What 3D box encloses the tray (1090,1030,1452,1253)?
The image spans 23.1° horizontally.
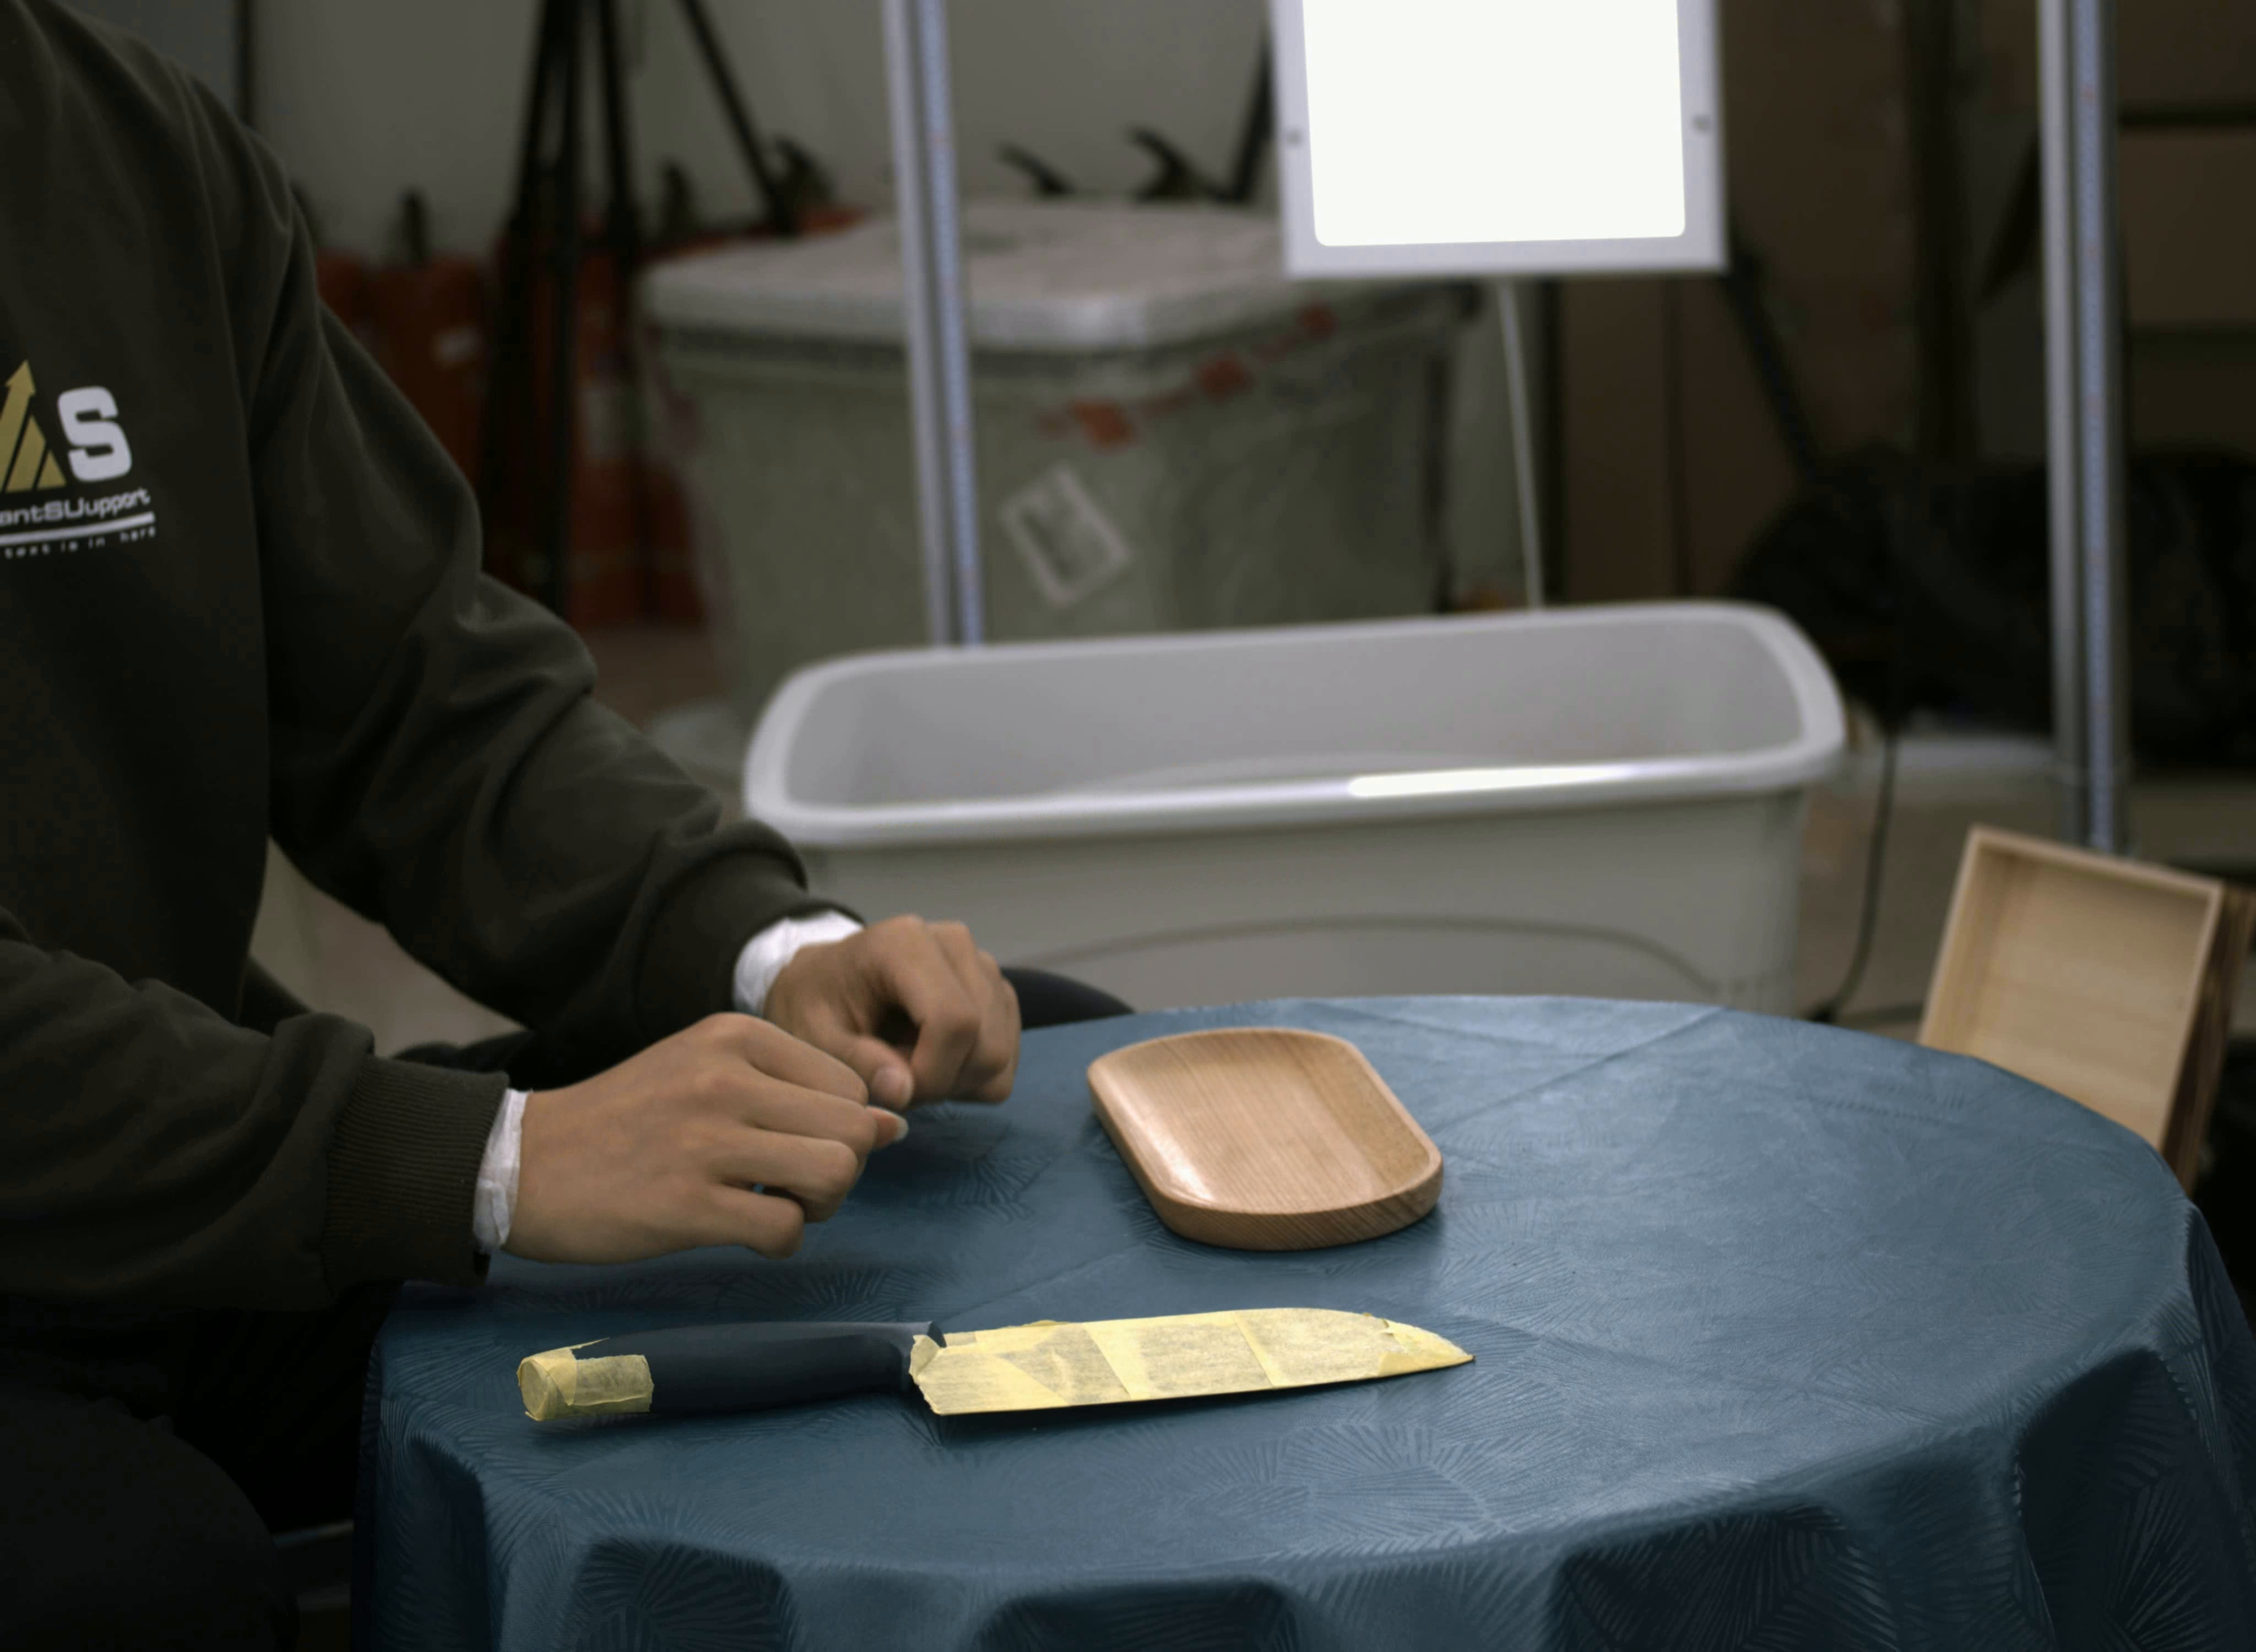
[{"bbox_3d":[0.049,0.108,1.926,0.101,0.020,0.232,-9,15,-8],"label":"tray"}]

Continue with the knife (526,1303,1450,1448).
[{"bbox_3d":[-0.042,0.170,1.709,0.287,0.027,0.081,-5,12,-4],"label":"knife"}]
